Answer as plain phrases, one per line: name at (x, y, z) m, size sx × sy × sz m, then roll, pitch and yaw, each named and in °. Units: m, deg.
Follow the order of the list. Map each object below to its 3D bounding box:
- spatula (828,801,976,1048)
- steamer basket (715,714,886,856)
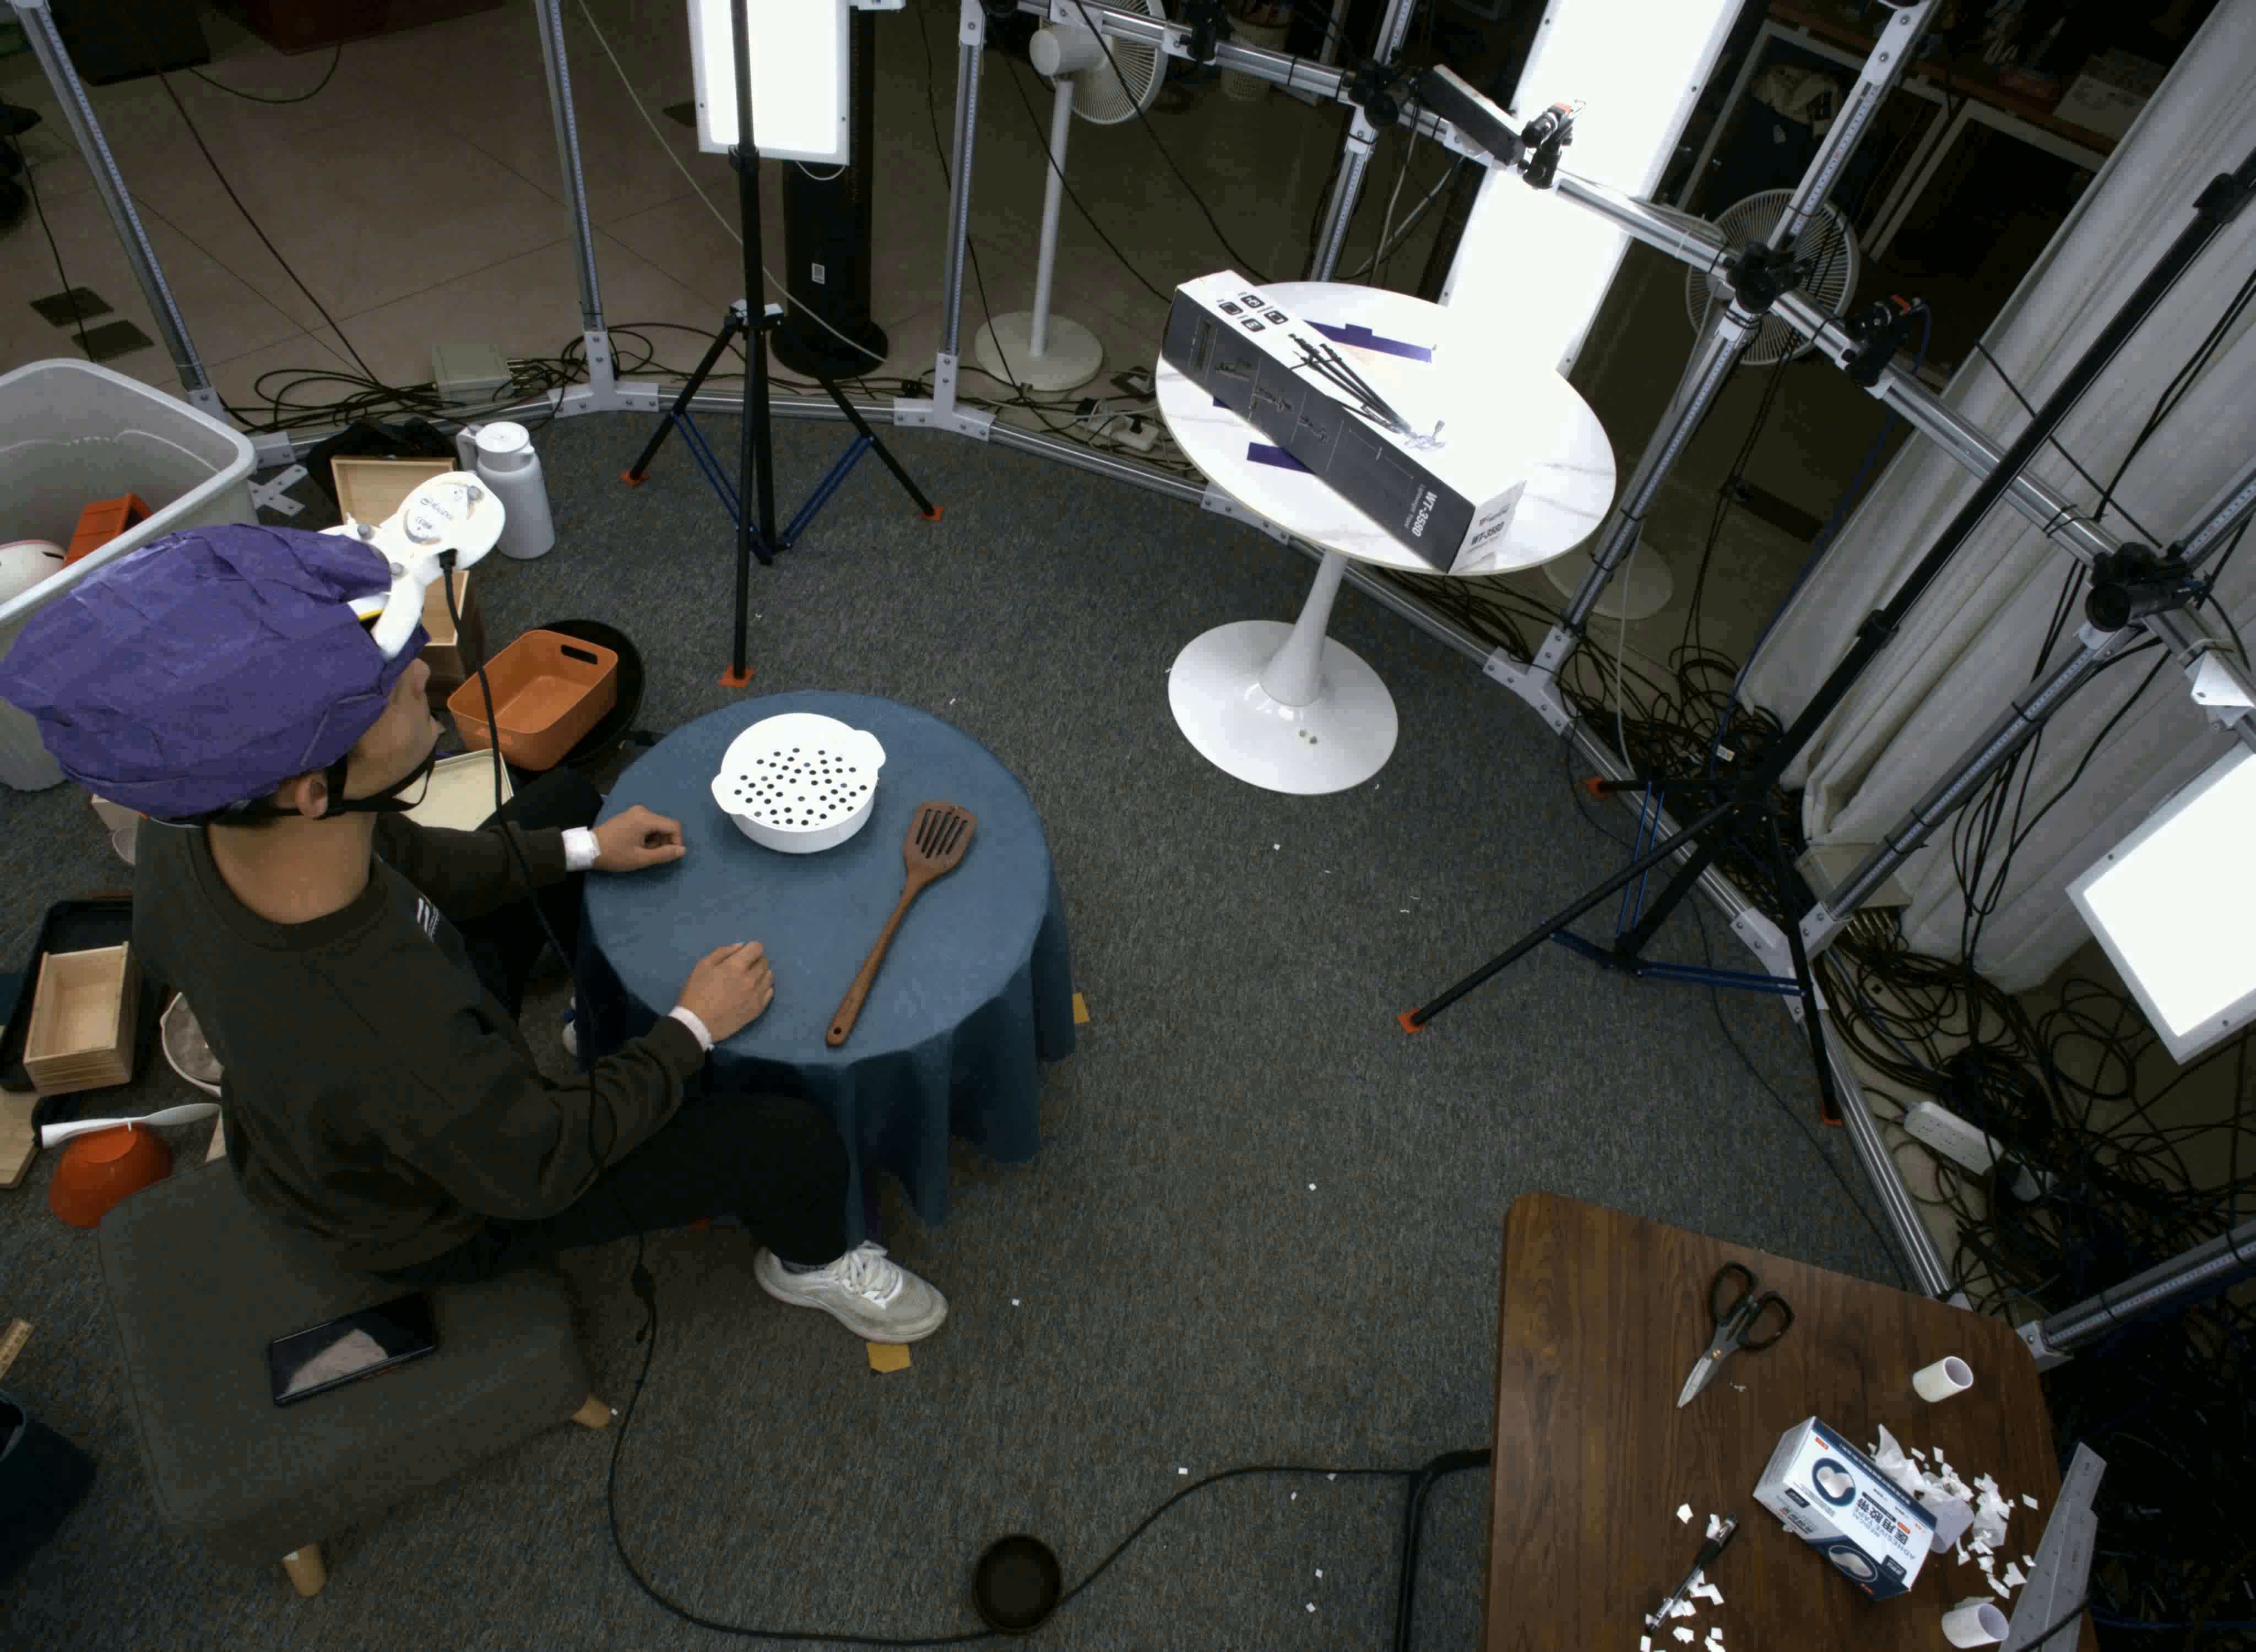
spatula at (-0.296, 0.119, 1.666) m, size 0.085 × 0.024 × 0.381 m, roll 18°, pitch 53°, yaw 3°
steamer basket at (-0.433, -0.055, 1.734) m, size 0.231 × 0.071 × 0.196 m, roll -23°, pitch 60°, yaw -24°
